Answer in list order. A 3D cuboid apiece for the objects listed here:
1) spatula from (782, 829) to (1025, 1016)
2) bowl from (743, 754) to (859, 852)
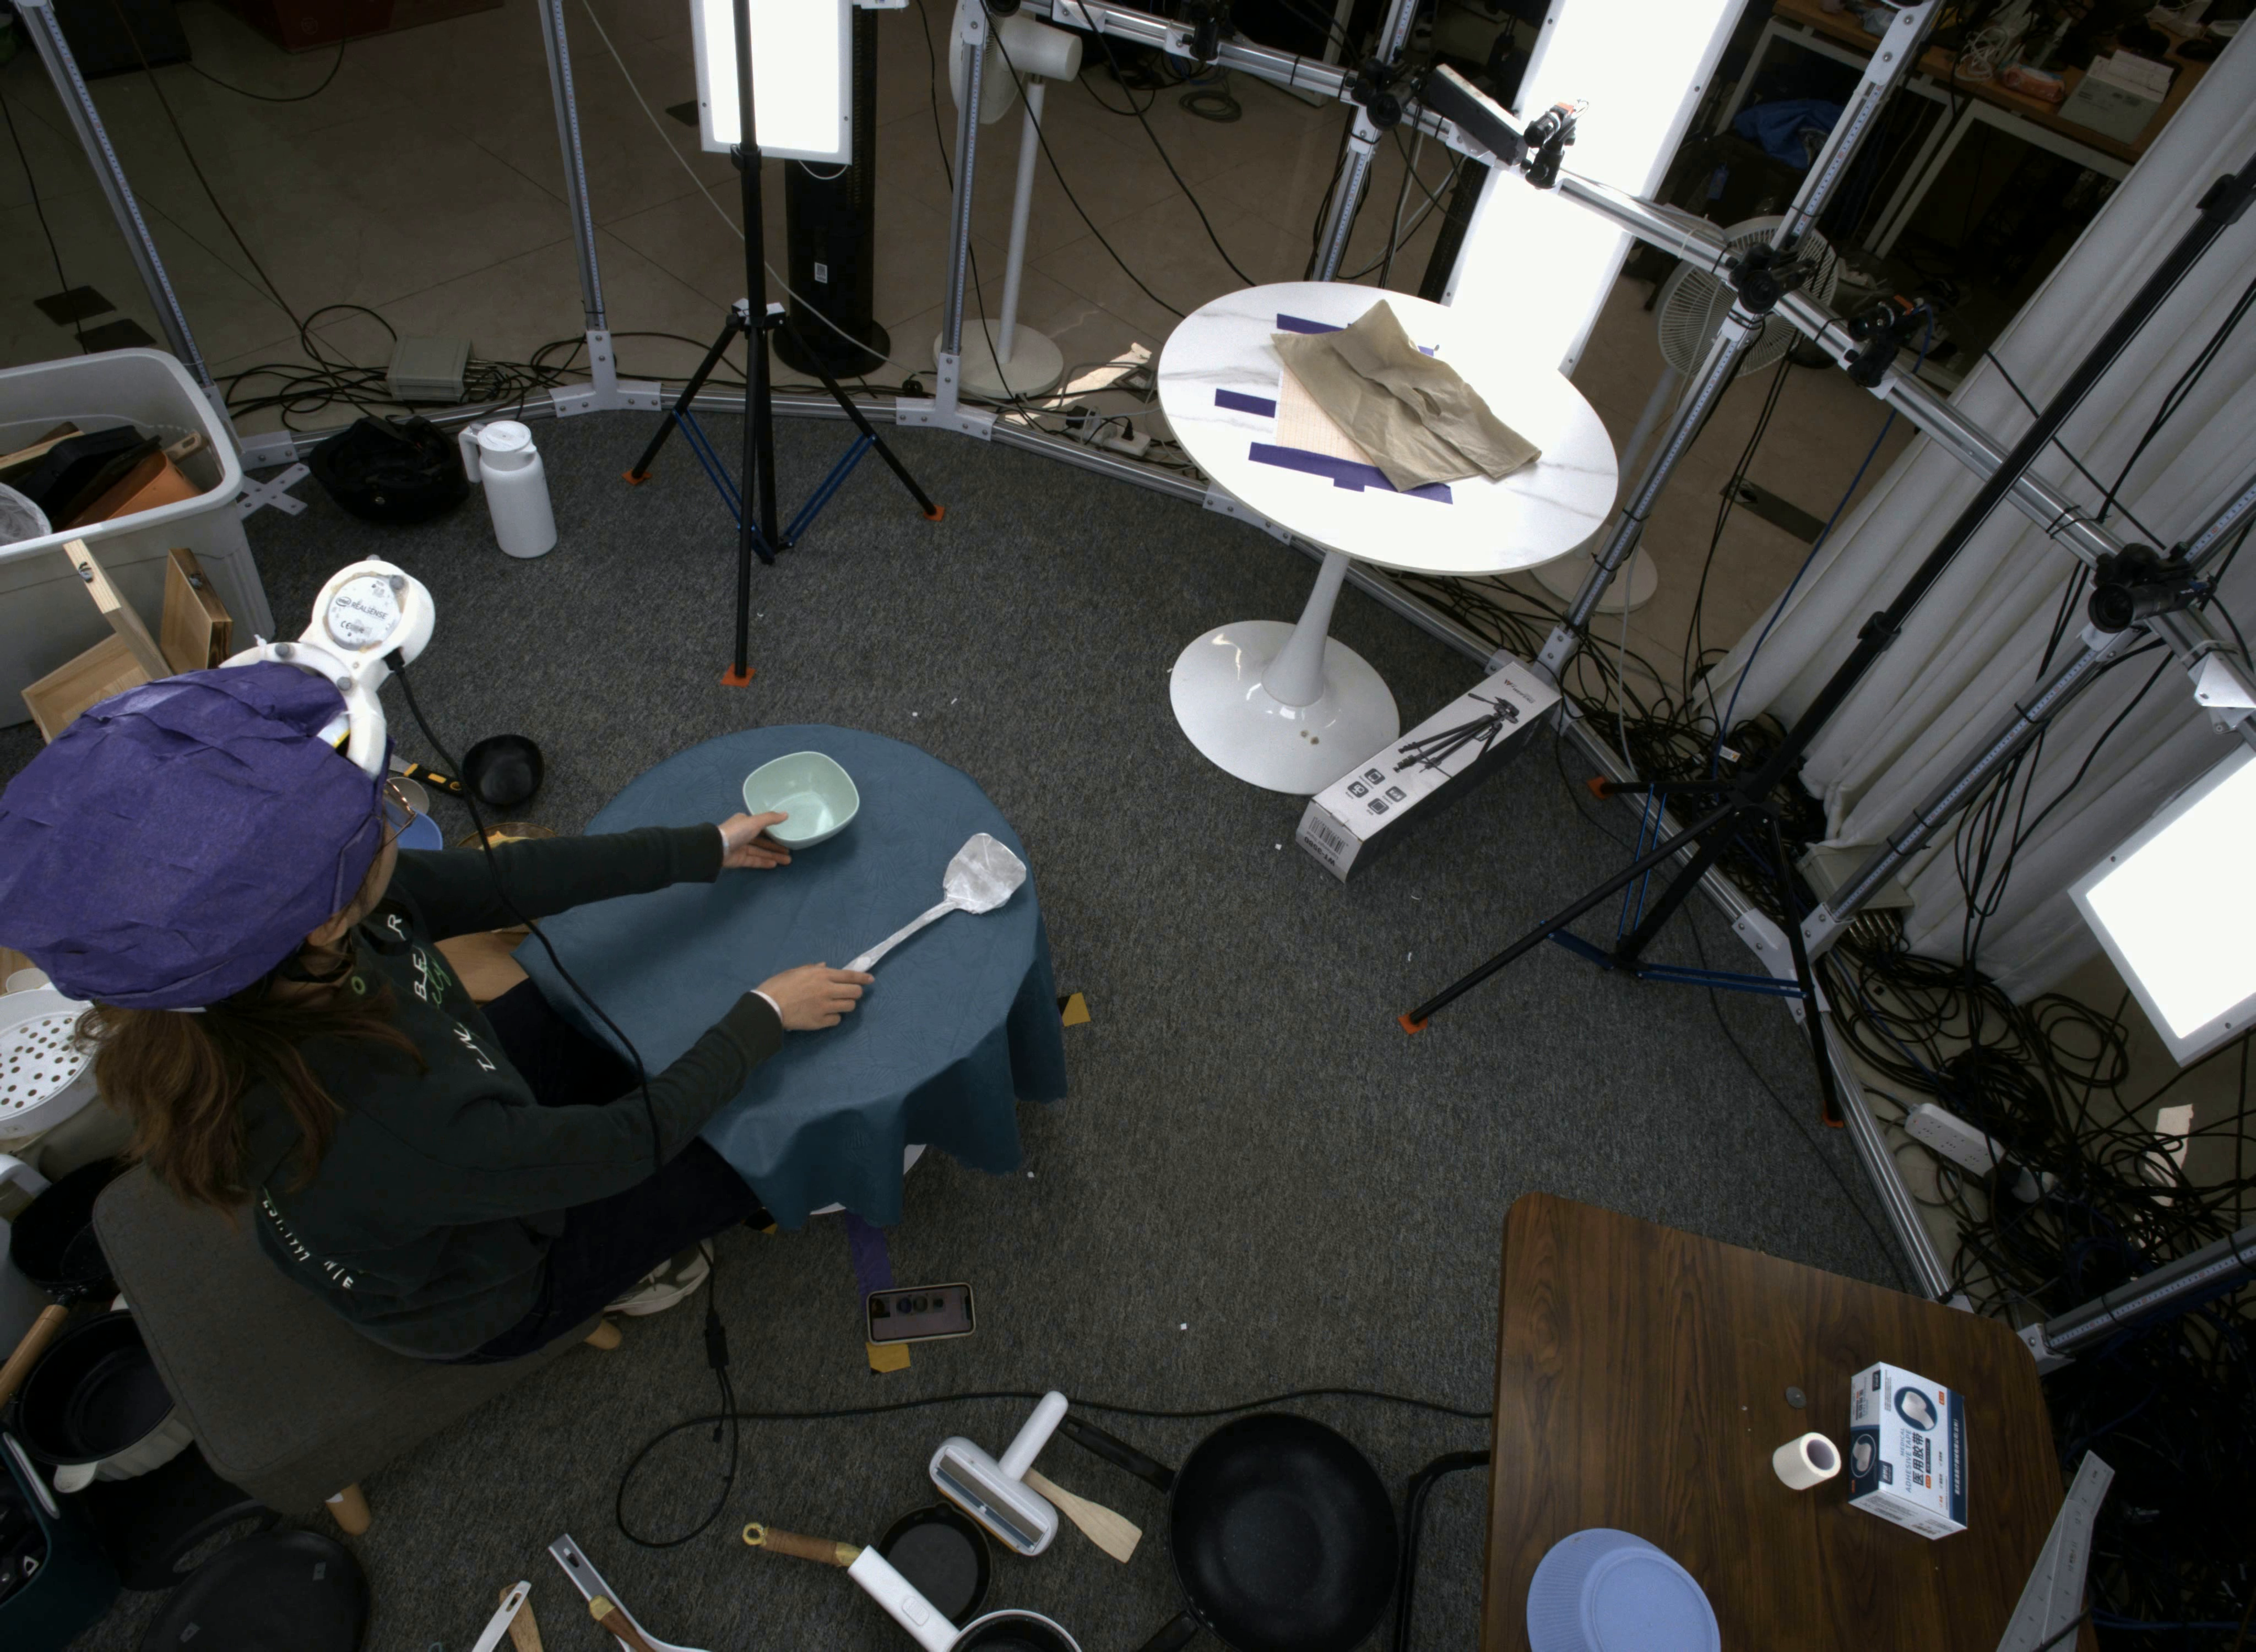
[{"bbox_3d":[-0.284,0.128,1.645,0.097,0.045,0.365,43,55,16],"label":"spatula"},{"bbox_3d":[-0.430,-0.022,1.709,0.151,0.060,0.148,7,50,-7],"label":"bowl"}]
